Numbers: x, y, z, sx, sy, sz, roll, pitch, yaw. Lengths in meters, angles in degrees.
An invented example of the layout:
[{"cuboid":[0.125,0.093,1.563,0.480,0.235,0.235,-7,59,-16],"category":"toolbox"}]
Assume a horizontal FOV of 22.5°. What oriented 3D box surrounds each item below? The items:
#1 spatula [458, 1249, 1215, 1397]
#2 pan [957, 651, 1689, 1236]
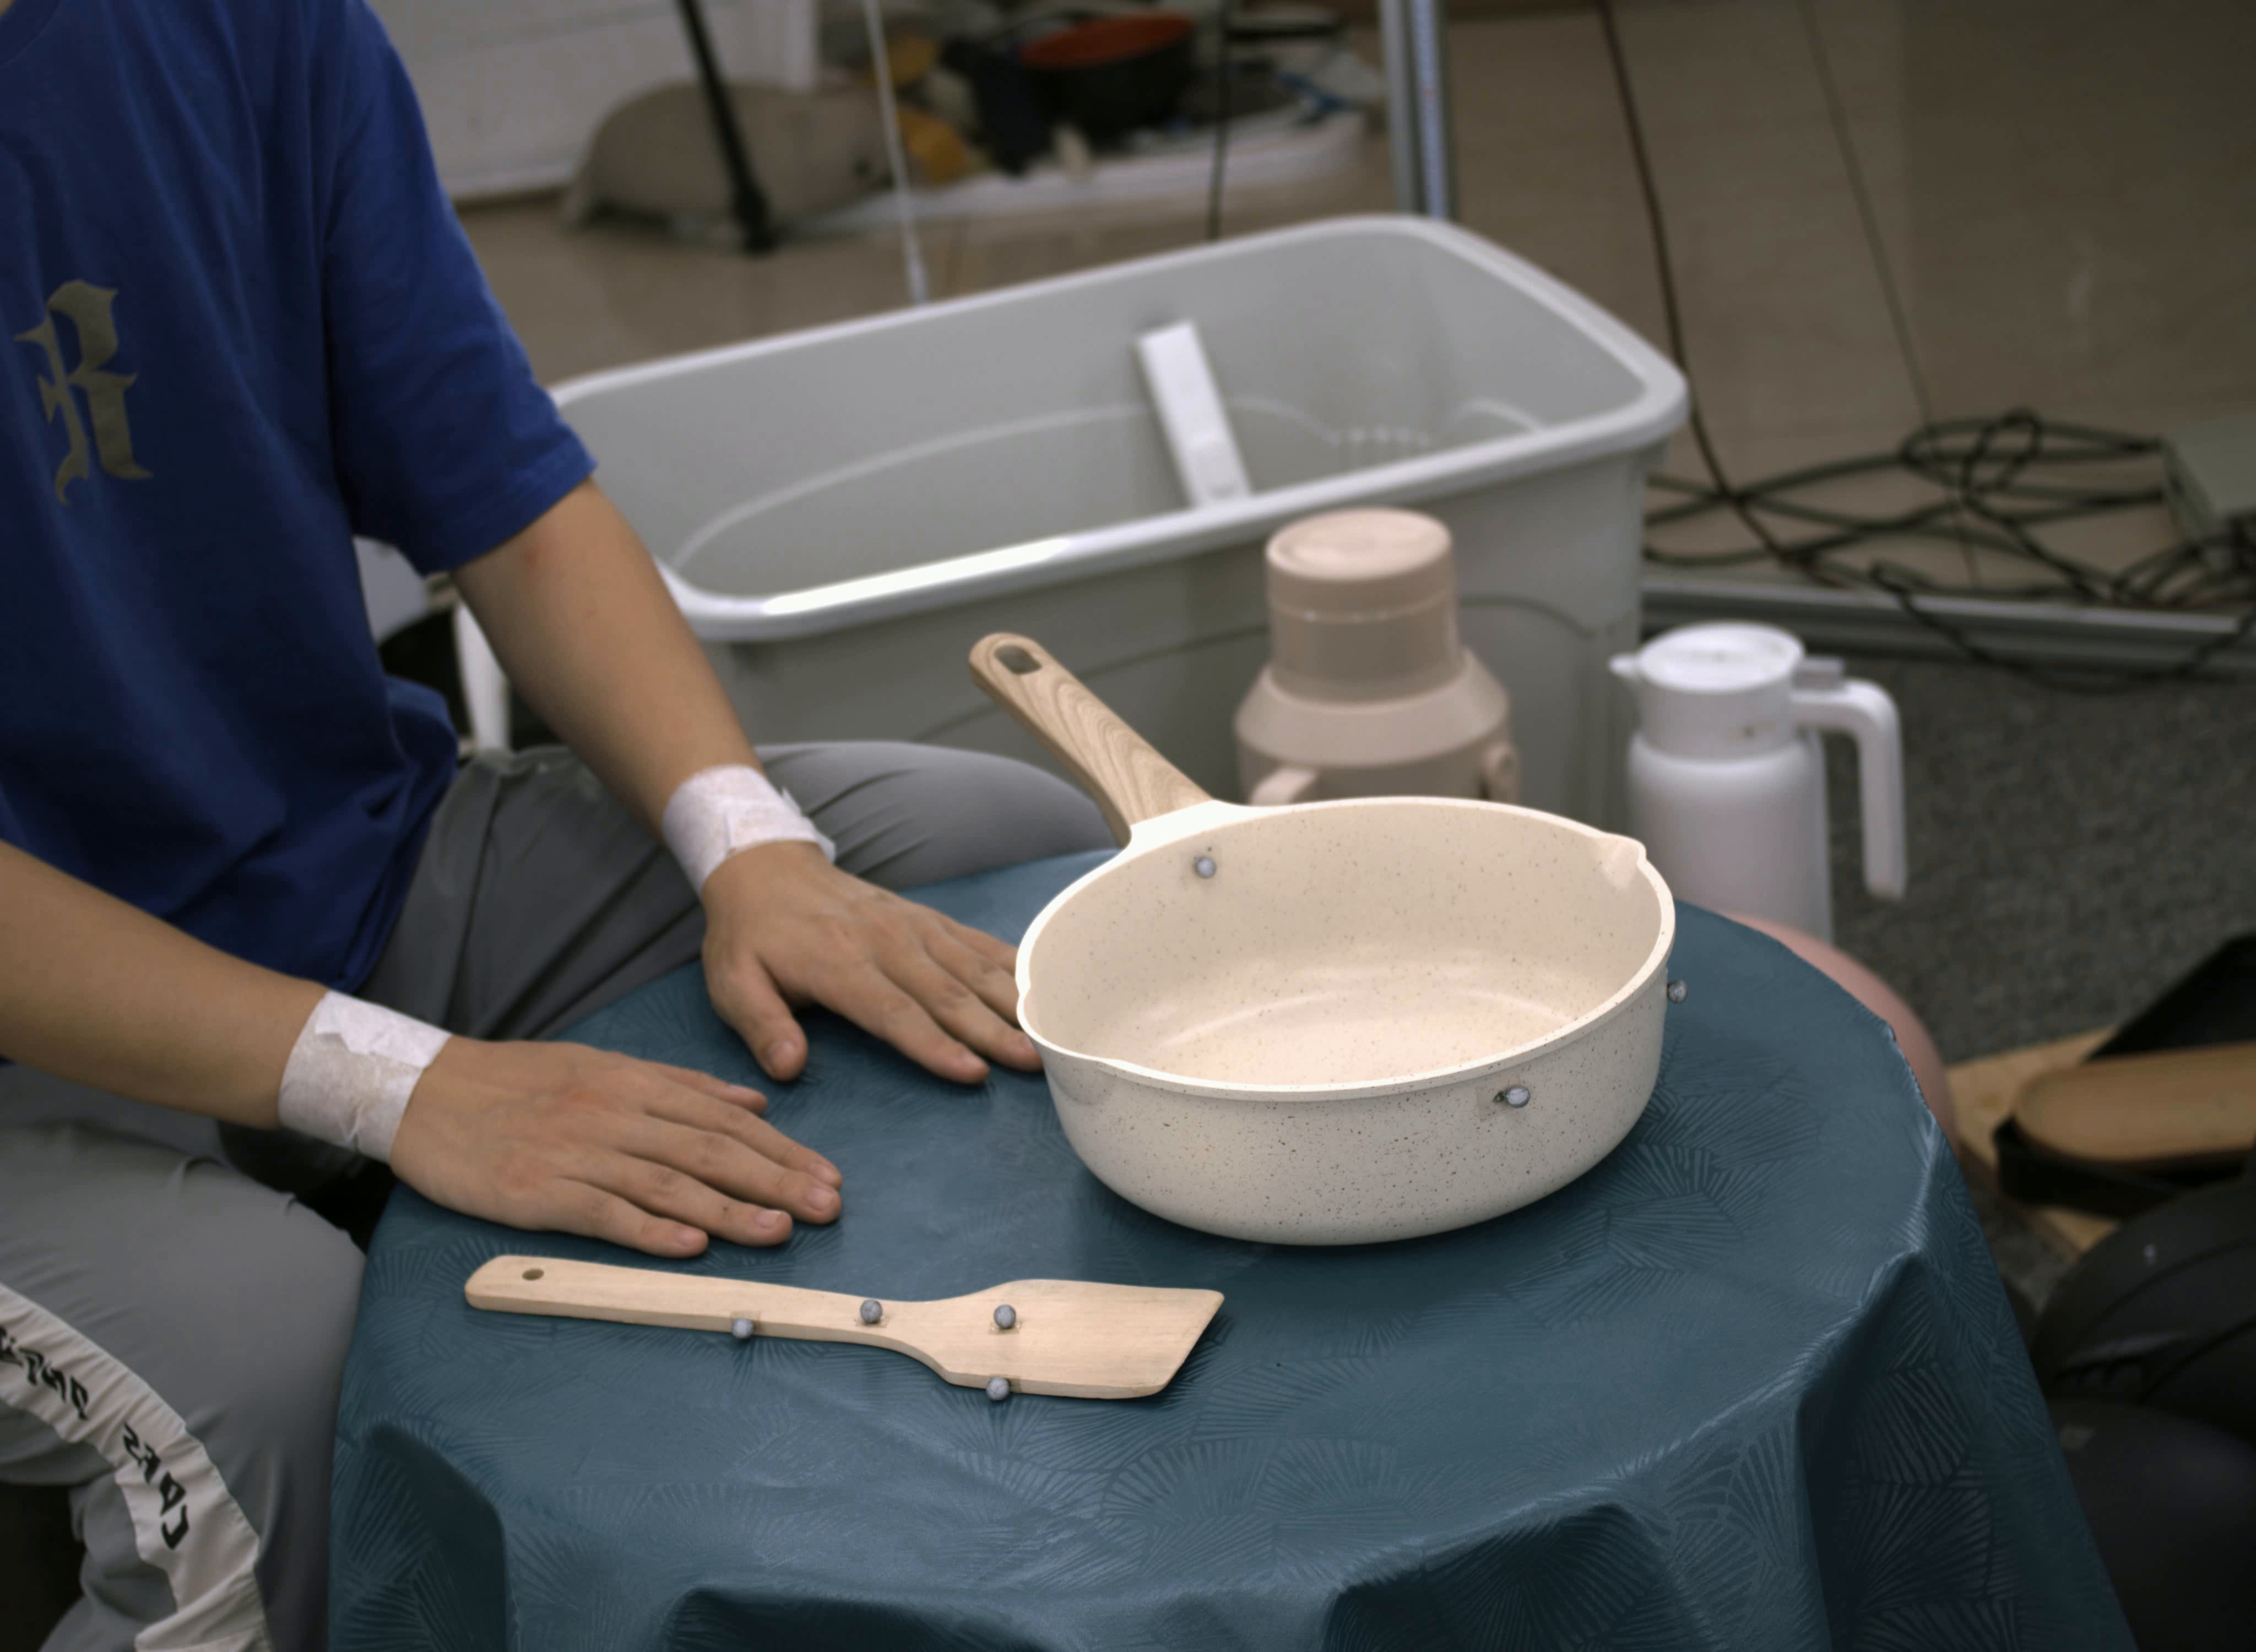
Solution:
[{"cuboid":[-0.114,0.178,2.080,0.292,0.011,0.071,4,28,21],"category":"spatula"},{"cuboid":[0.048,0.039,2.231,0.262,0.103,0.430,-19,27,-22],"category":"pan"}]
